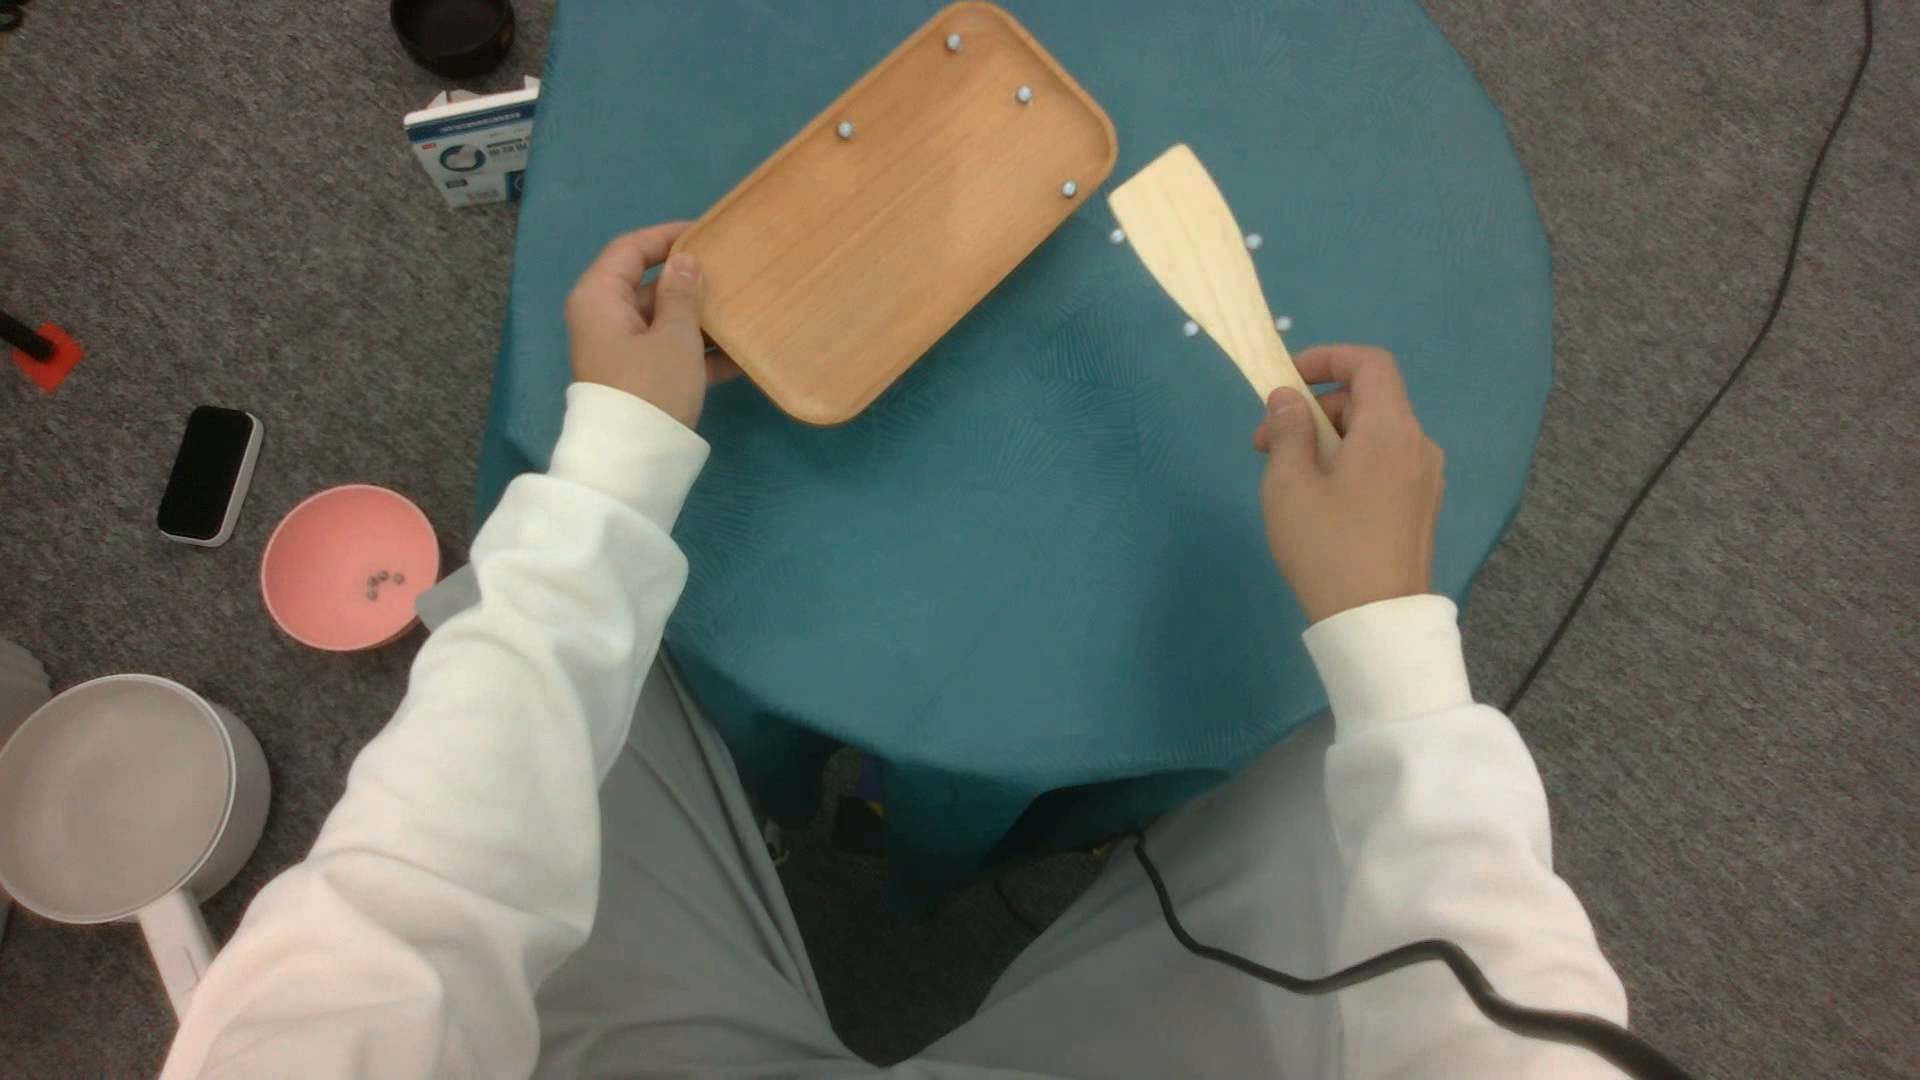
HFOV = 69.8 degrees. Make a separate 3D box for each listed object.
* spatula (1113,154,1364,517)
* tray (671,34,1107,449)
[{"bbox_3d":[0.143,-0.102,0.691,0.050,0.005,0.208,-30,72,11],"label":"spatula"},{"bbox_3d":[-0.034,-0.166,0.750,0.130,0.023,0.251,42,73,4],"label":"tray"}]
